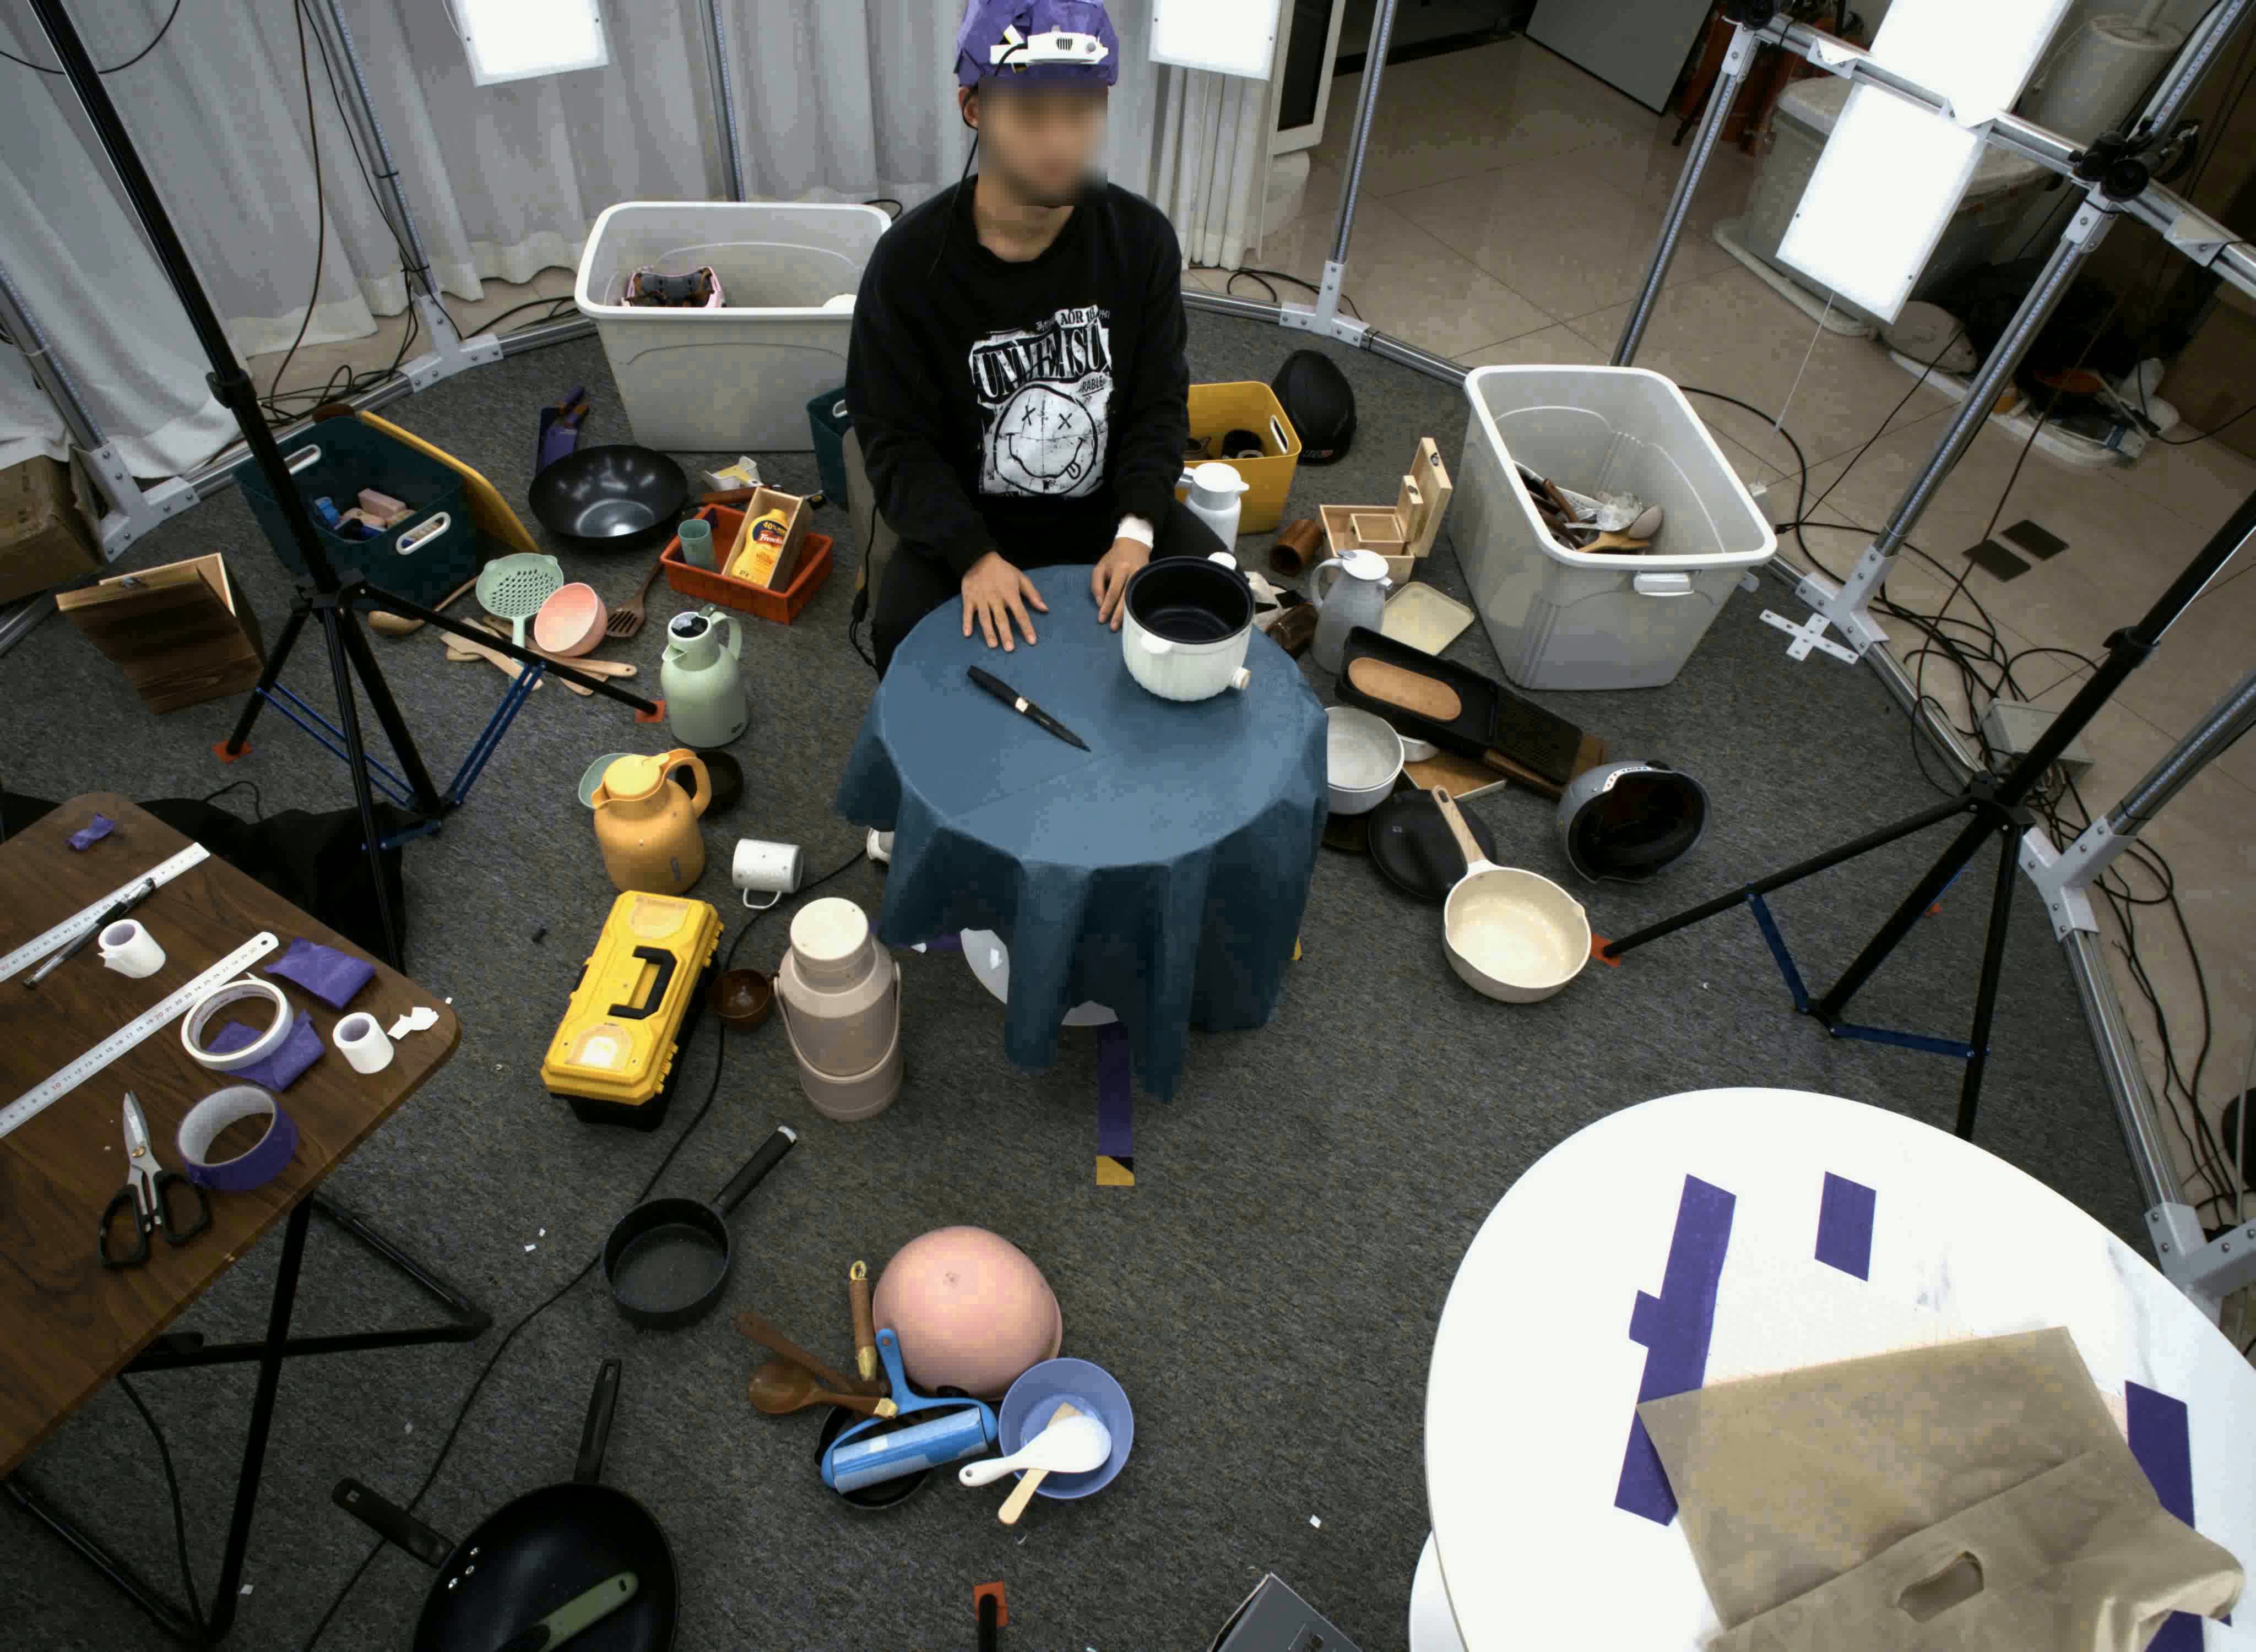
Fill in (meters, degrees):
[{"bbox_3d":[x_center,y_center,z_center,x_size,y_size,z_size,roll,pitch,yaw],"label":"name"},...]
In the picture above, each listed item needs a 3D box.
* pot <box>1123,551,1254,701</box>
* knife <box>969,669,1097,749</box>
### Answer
[{"bbox_3d":[0.087,-0.272,1.821,0.192,0.139,0.244,22,53,19],"label":"pot"},{"bbox_3d":[-0.134,-0.163,1.797,0.228,0.017,0.026,34,40,22],"label":"knife"}]
